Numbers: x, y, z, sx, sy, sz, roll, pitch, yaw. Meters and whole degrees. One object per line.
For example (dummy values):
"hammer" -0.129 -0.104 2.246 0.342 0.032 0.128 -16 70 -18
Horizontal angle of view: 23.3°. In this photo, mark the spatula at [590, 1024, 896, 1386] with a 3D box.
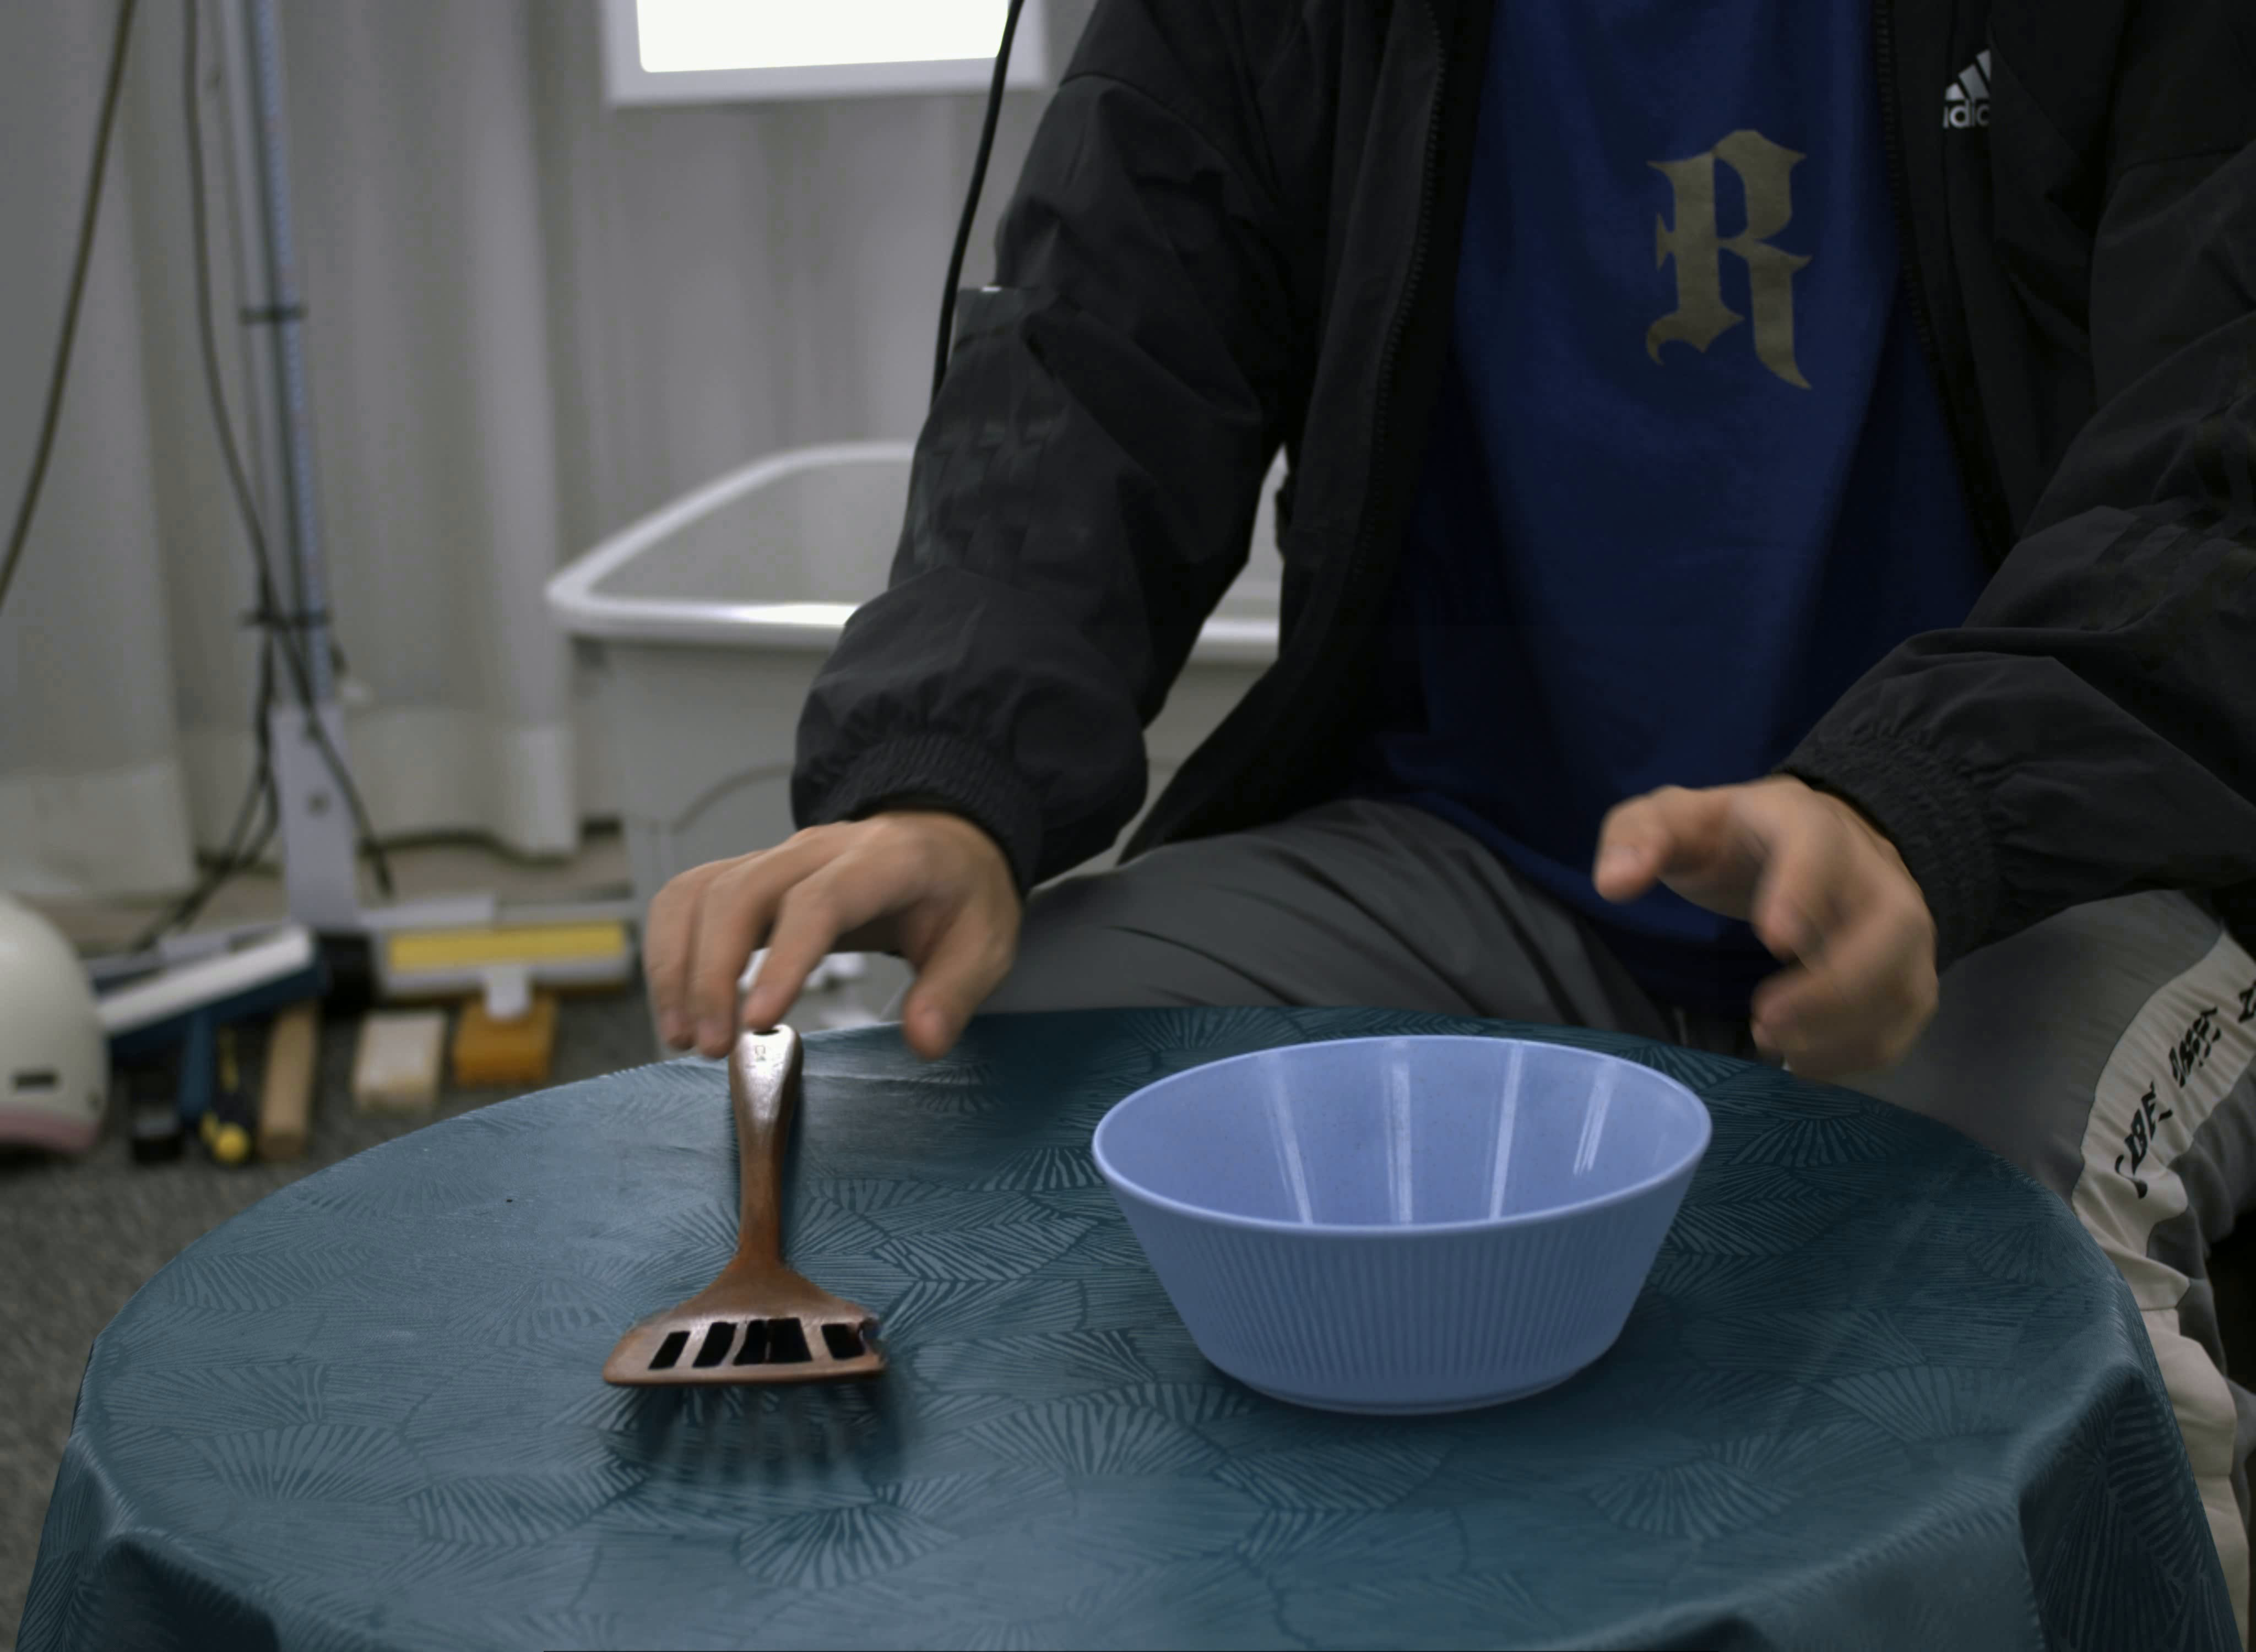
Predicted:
"spatula" -0.113 0.117 1.683 0.085 0.024 0.389 -2 13 -2

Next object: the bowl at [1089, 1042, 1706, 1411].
"bowl" 0.077 0.116 1.553 0.175 0.070 0.177 -2 14 0
